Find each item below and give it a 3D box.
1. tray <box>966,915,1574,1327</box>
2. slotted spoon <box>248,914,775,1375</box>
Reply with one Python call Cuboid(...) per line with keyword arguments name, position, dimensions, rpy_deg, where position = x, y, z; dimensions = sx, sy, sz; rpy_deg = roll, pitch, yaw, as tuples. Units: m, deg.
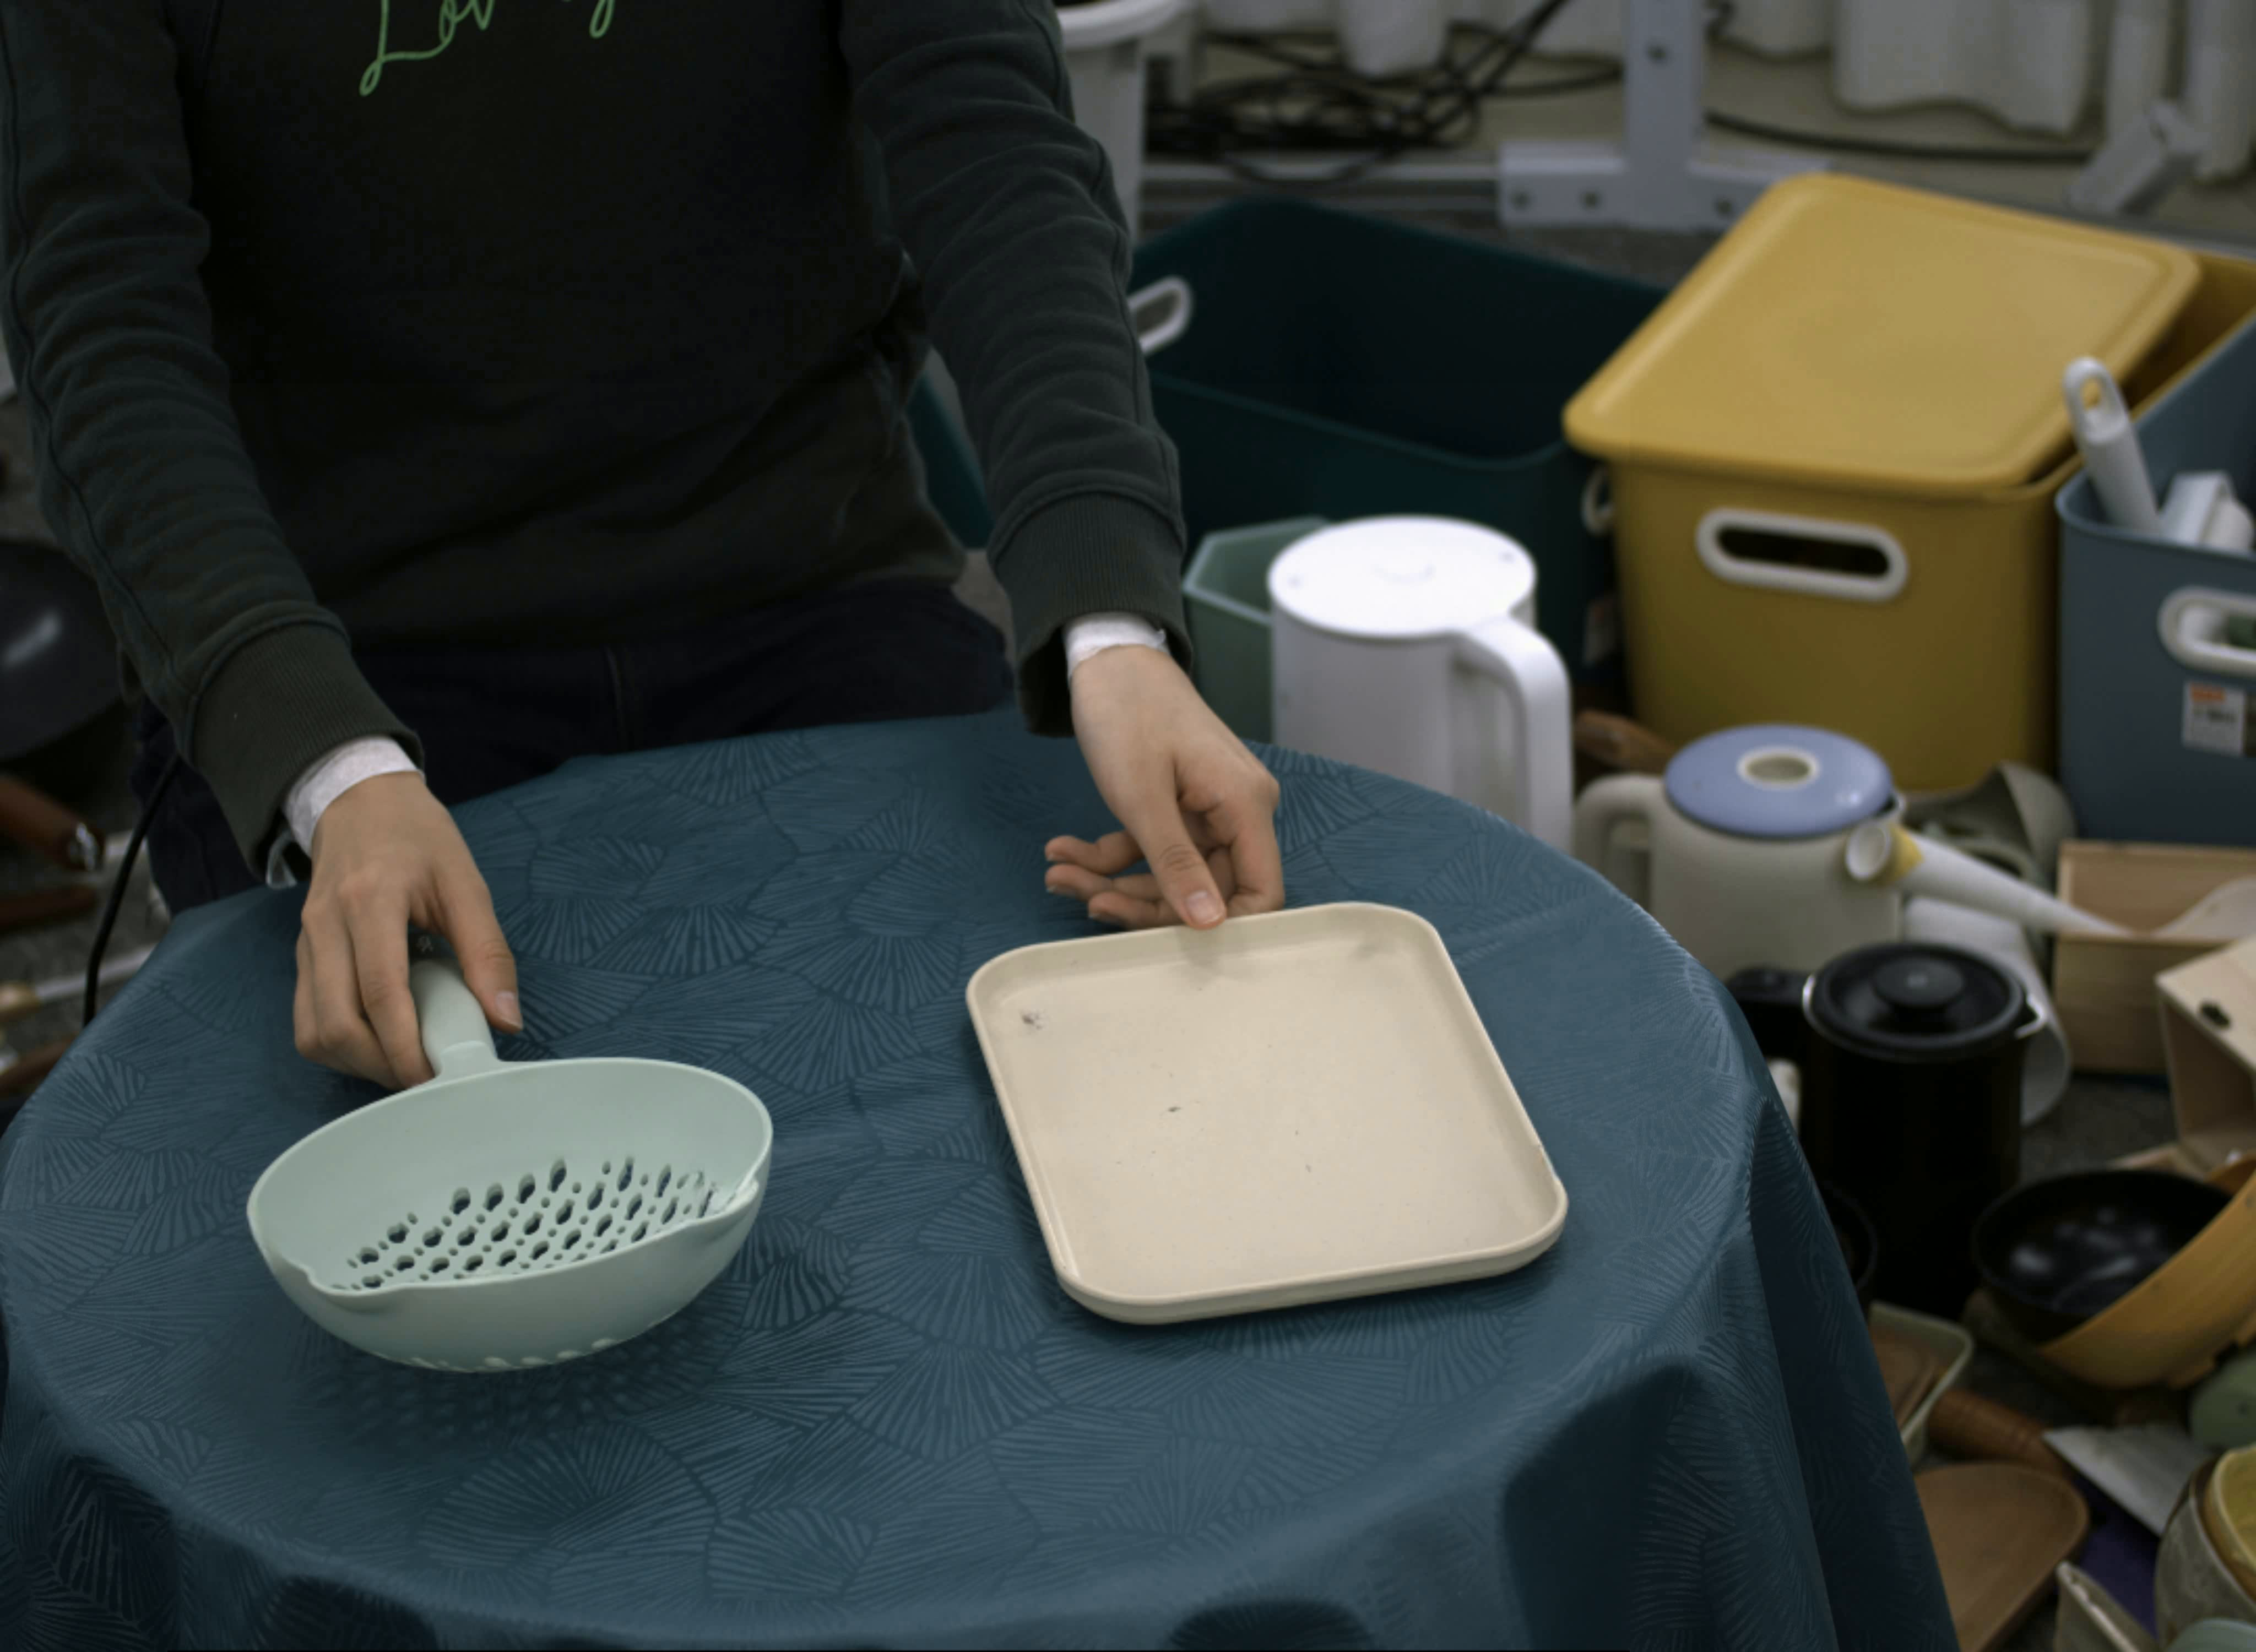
Cuboid(name="tray", position=(0.044, 0.097, 1.886), dimensions=(0.171, 0.017, 0.242), rpy_deg=(-7, 27, -9))
Cuboid(name="slotted spoon", position=(-0.217, 0.090, 1.875), dimensions=(0.169, 0.074, 0.362), rpy_deg=(-11, 28, -11))
